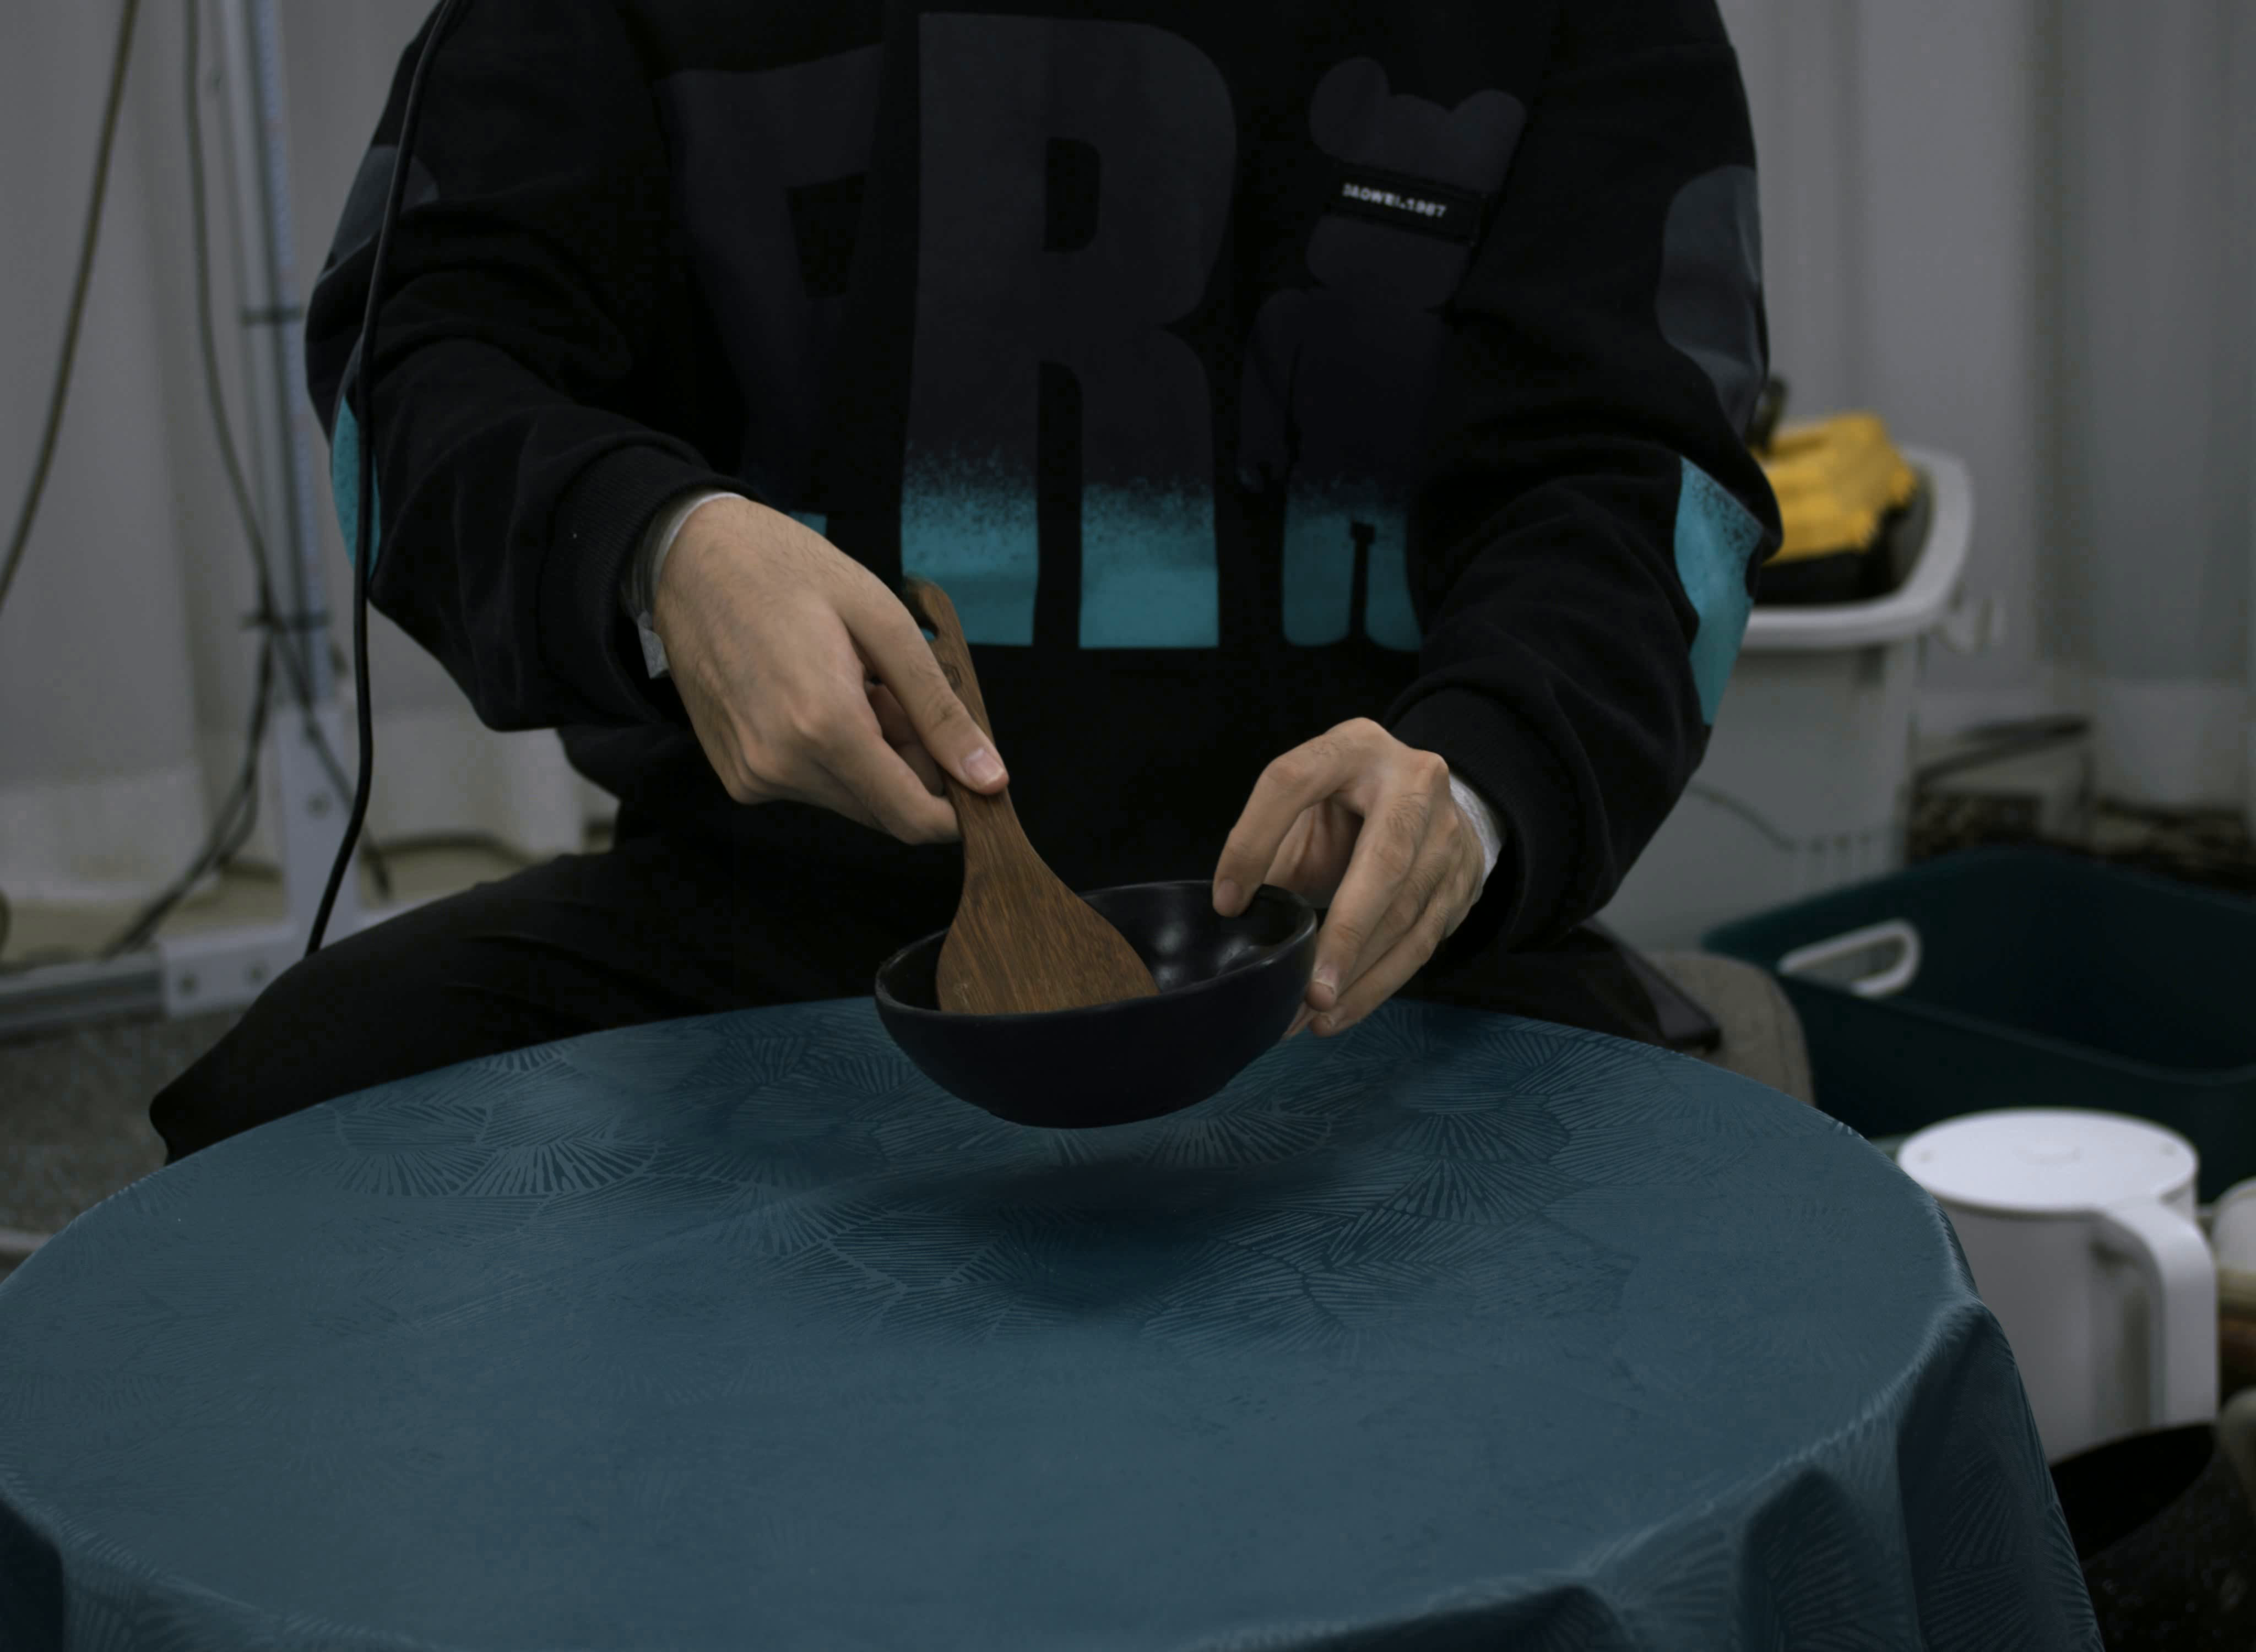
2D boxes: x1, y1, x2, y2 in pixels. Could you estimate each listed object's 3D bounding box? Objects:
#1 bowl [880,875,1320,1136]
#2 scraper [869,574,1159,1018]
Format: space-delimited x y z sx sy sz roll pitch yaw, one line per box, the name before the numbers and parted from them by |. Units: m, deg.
bowl | -0.004 0.060 1.687 0.139 0.049 0.141 -12 14 2
scraper | -0.045 -0.001 1.757 0.075 0.011 0.214 -5 52 -19
